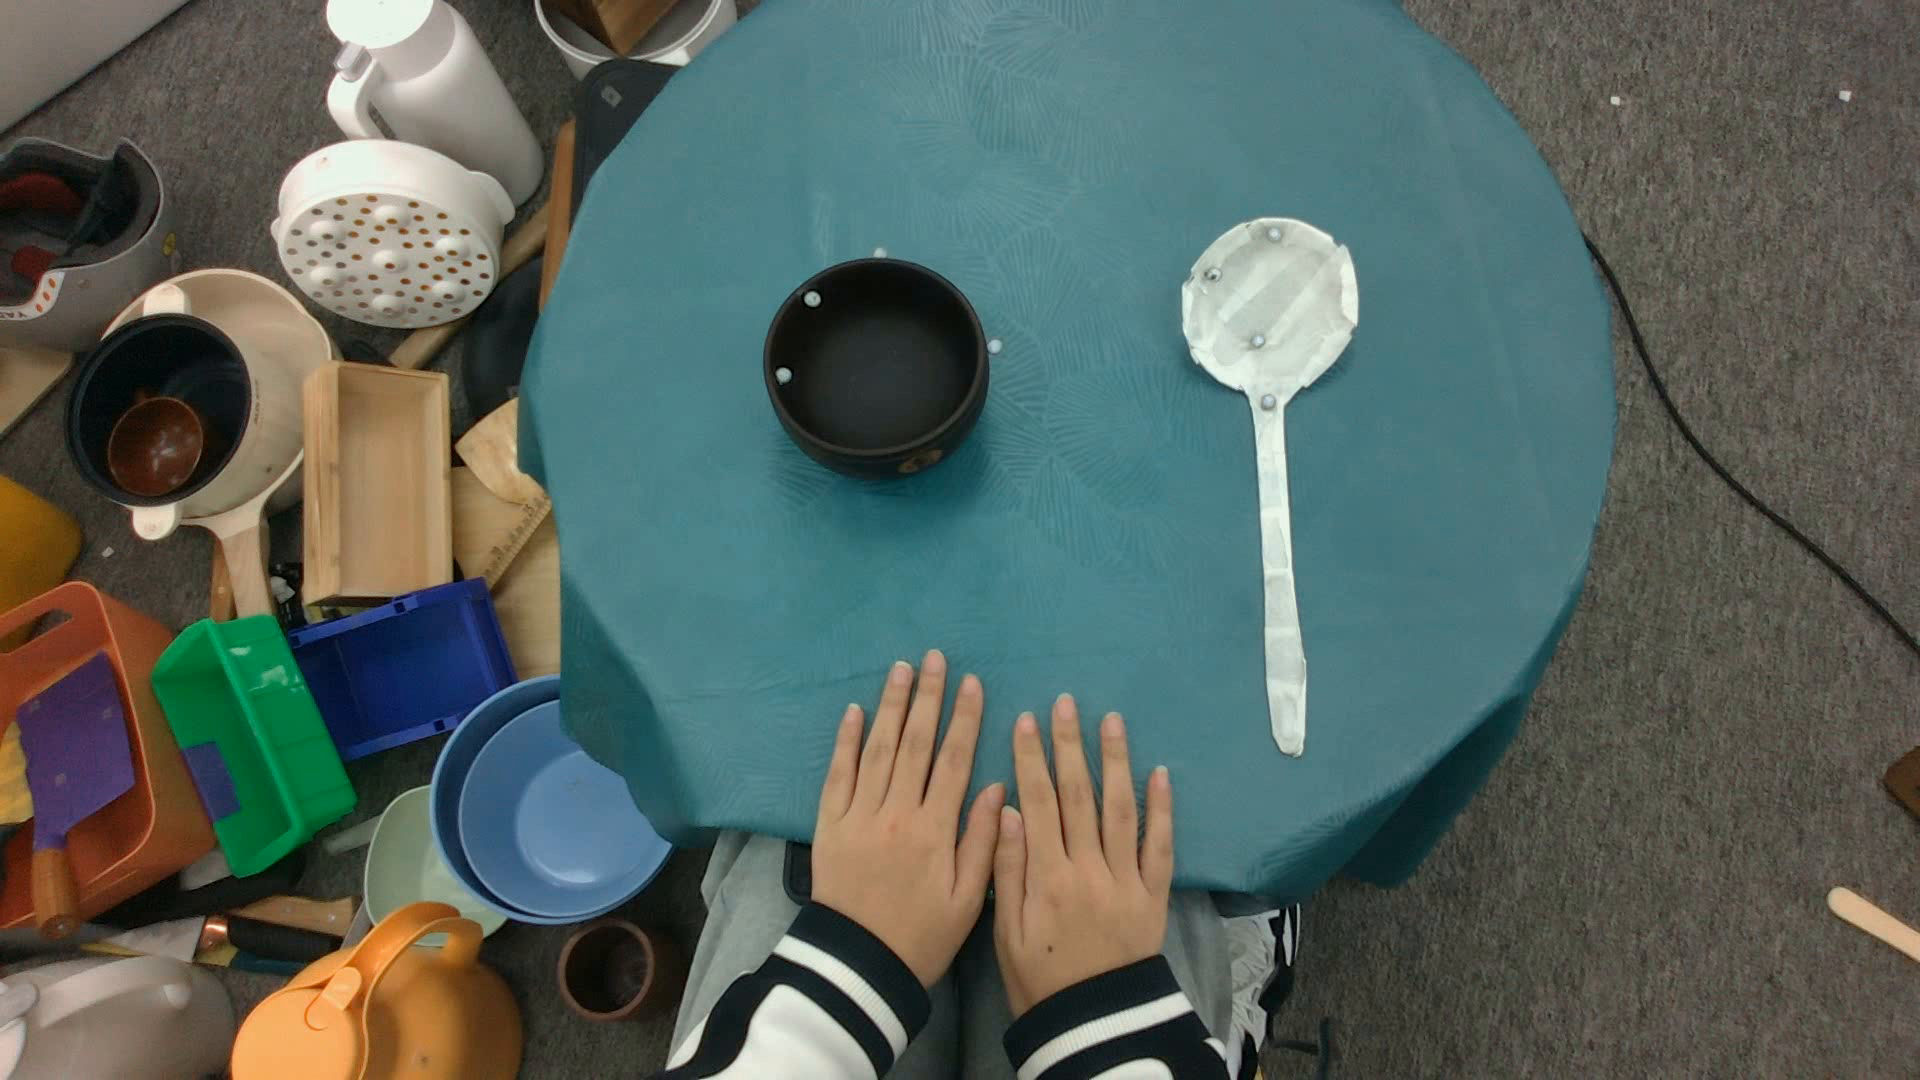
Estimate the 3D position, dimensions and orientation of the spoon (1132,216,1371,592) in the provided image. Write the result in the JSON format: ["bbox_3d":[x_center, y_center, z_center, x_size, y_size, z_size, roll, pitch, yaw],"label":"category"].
[{"bbox_3d":[0.192,-0.070,0.812,0.100,0.277,0.059,-27,41,15],"label":"spoon"}]

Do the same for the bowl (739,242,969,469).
[{"bbox_3d":[-0.054,-0.091,0.731,0.118,0.069,0.118,-1,71,2],"label":"bowl"}]
